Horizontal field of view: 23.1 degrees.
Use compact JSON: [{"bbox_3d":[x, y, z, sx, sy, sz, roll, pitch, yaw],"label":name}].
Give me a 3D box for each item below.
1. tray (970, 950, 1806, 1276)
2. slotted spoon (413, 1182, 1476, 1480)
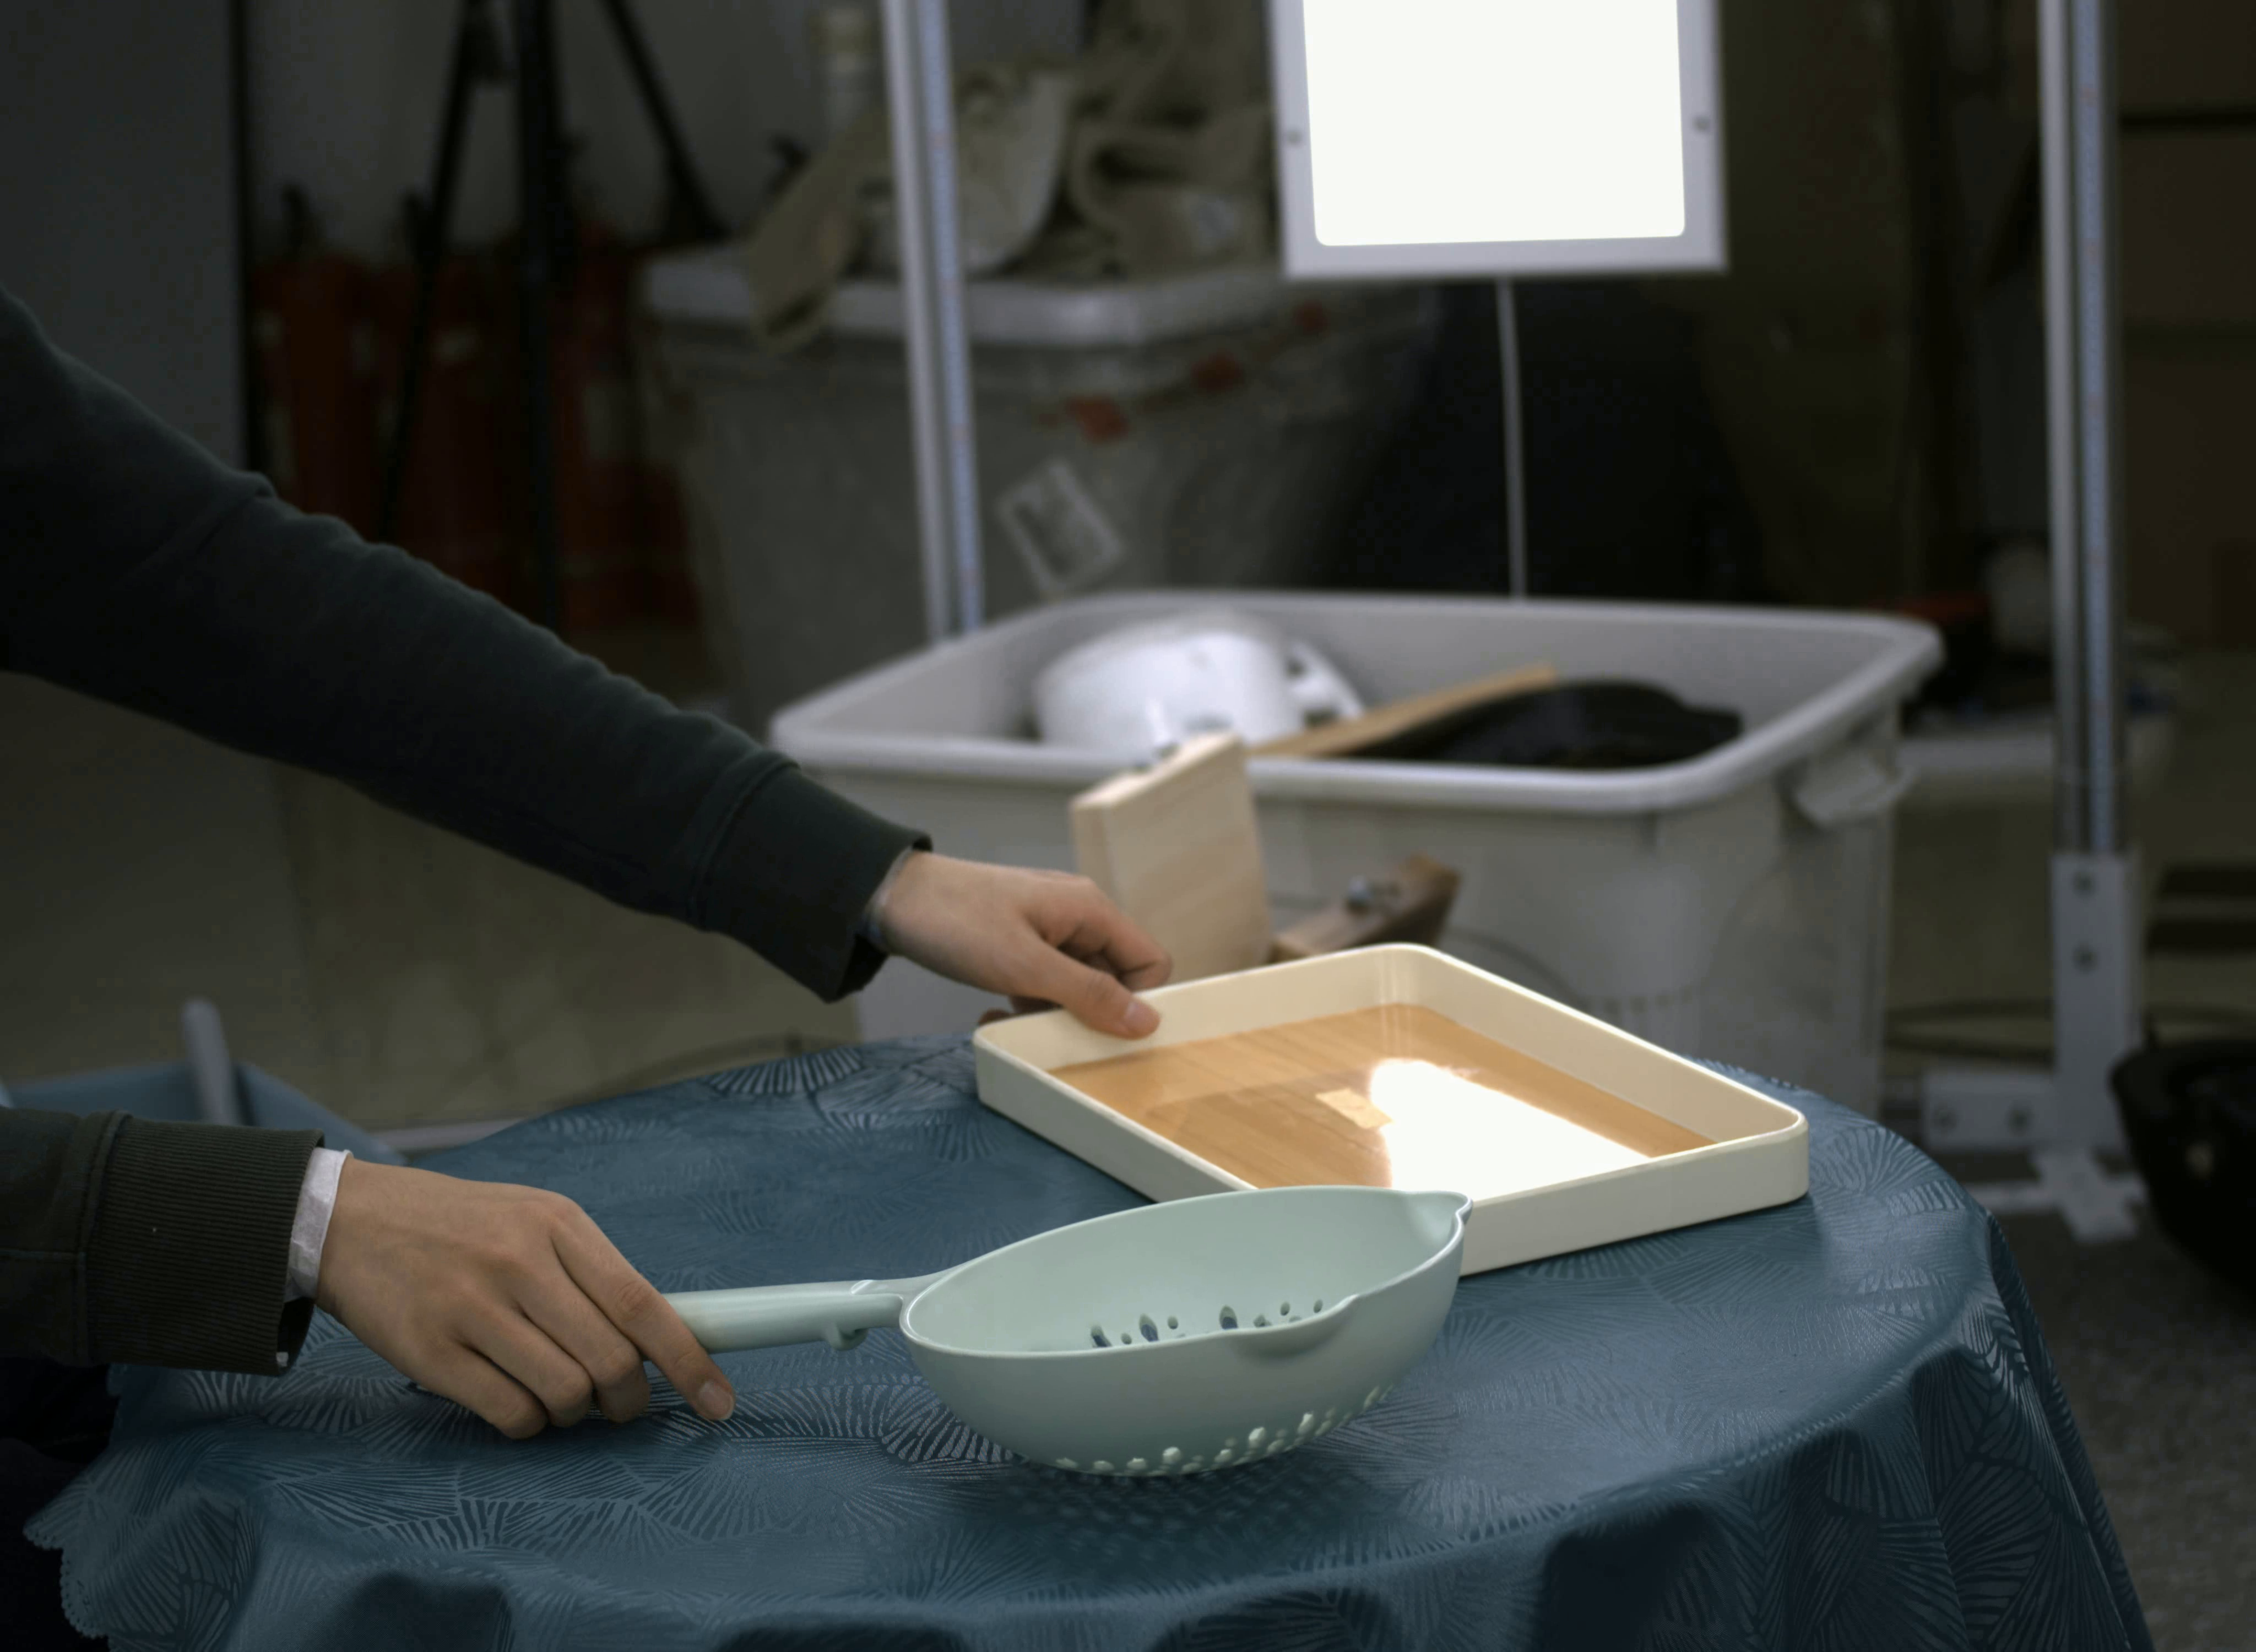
[{"bbox_3d":[0.085,0.099,1.922,0.188,0.027,0.305,-10,14,-22],"label":"tray"},{"bbox_3d":[-0.068,0.151,1.680,0.365,0.075,0.166,3,14,27],"label":"slotted spoon"}]
